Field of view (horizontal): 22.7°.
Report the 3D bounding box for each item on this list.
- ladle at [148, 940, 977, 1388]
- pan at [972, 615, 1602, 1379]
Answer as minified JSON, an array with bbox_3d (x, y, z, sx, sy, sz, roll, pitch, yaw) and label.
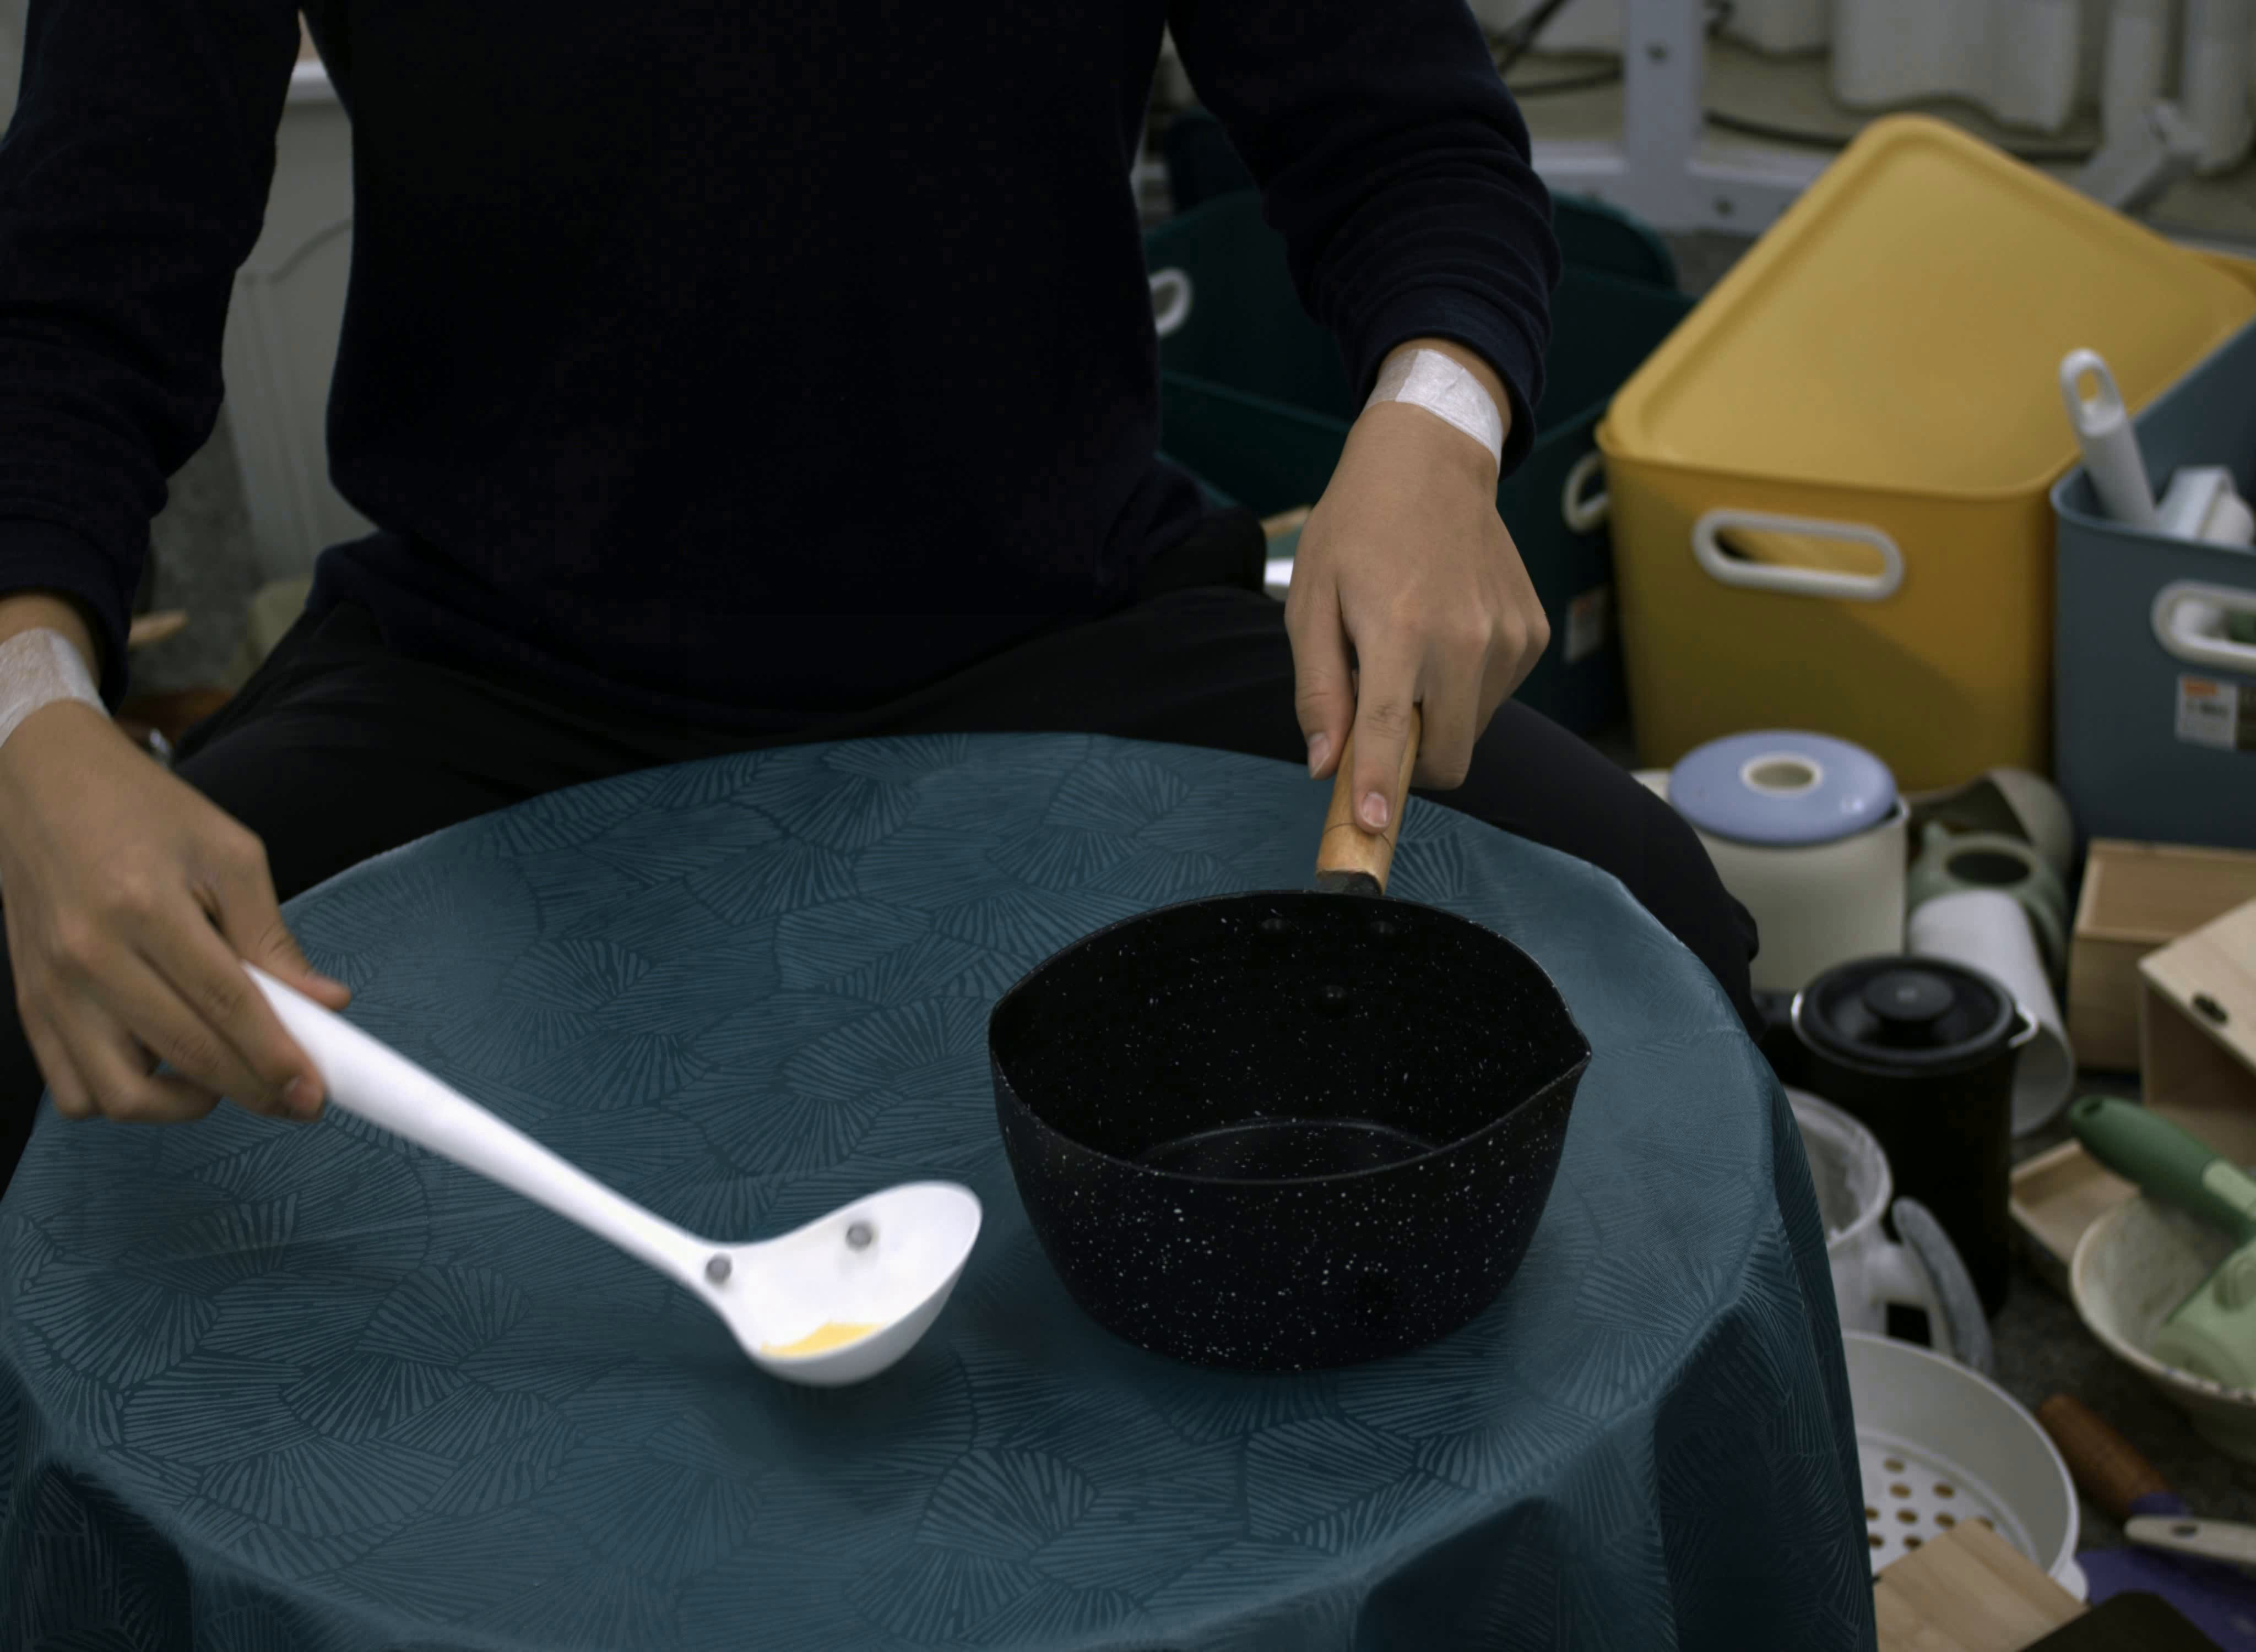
[{"bbox_3d":[-0.184,0.098,1.776,0.292,0.069,0.092,26,46,17],"label":"ladle"},{"bbox_3d":[0.065,0.053,1.871,0.206,0.107,0.349,2,29,11],"label":"pan"}]
